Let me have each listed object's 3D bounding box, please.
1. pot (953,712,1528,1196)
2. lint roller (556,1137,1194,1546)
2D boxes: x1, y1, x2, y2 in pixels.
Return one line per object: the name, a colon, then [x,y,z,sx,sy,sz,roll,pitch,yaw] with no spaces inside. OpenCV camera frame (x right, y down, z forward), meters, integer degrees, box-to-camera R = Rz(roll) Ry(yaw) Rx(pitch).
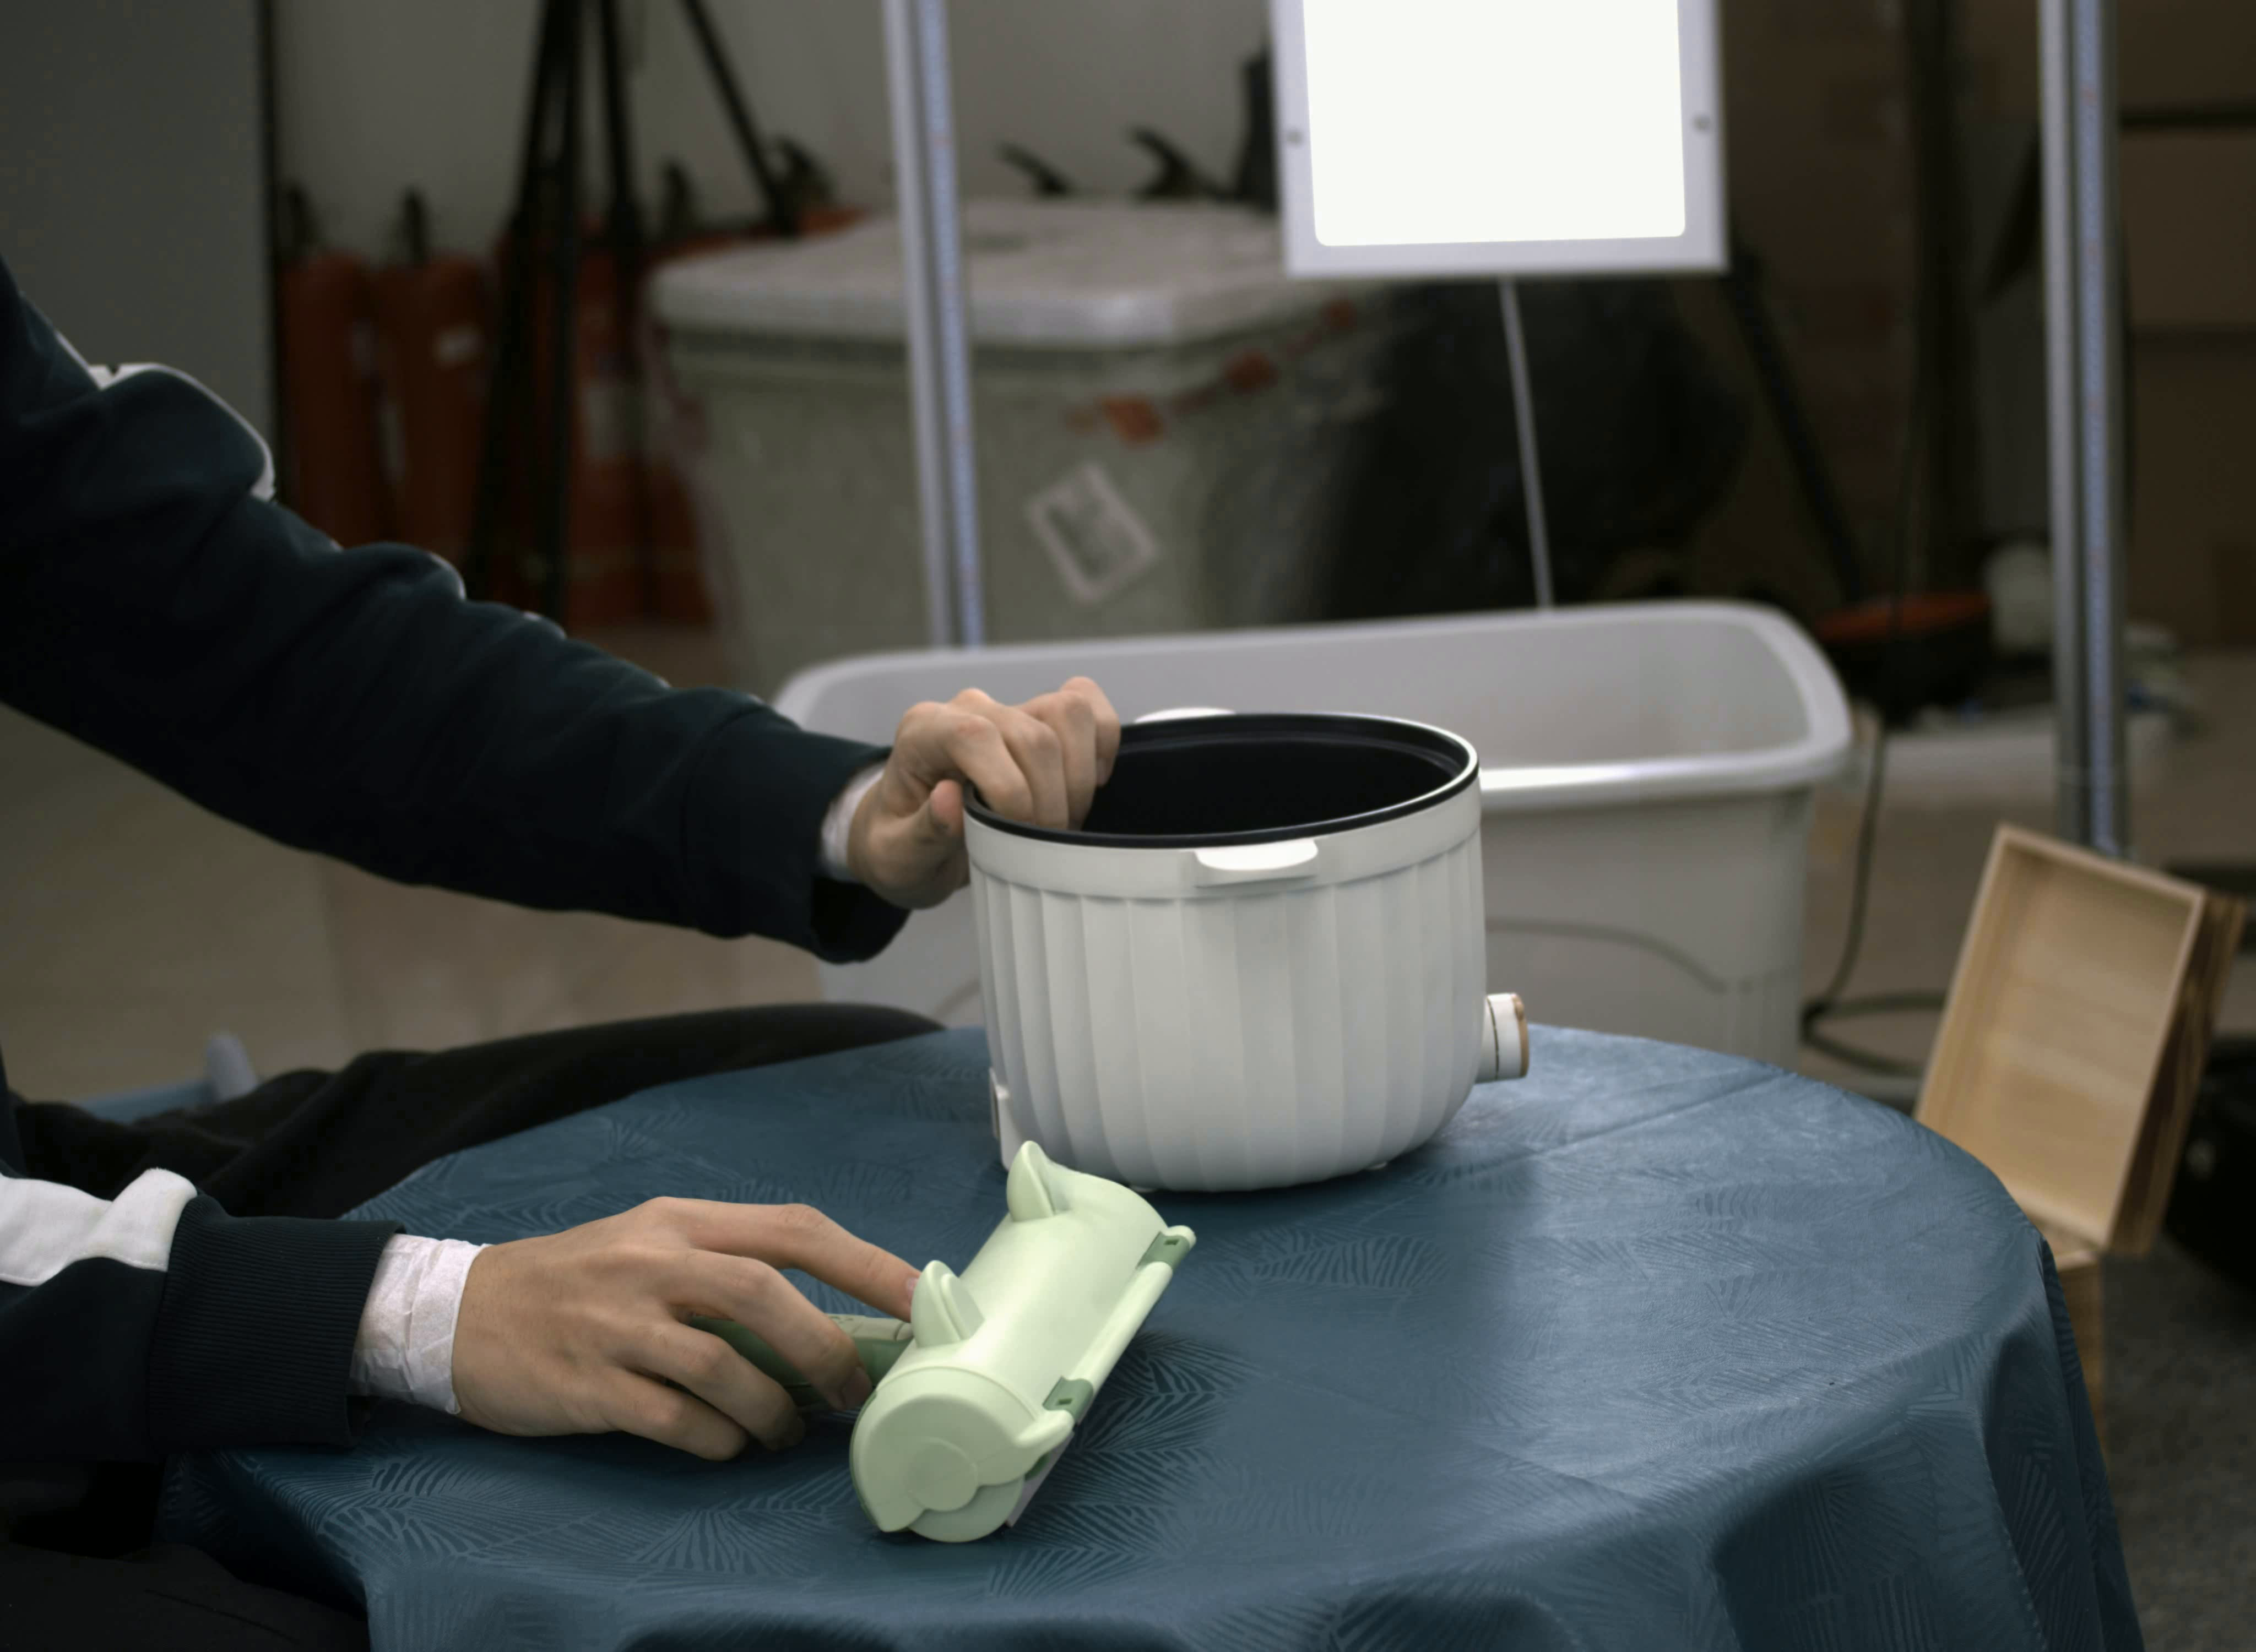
pot: [0.041,0.045,1.922,0.189,0.143,0.241,-9,15,-4]
lint roller: [-0.087,0.148,1.680,0.185,0.082,0.196,4,16,14]
